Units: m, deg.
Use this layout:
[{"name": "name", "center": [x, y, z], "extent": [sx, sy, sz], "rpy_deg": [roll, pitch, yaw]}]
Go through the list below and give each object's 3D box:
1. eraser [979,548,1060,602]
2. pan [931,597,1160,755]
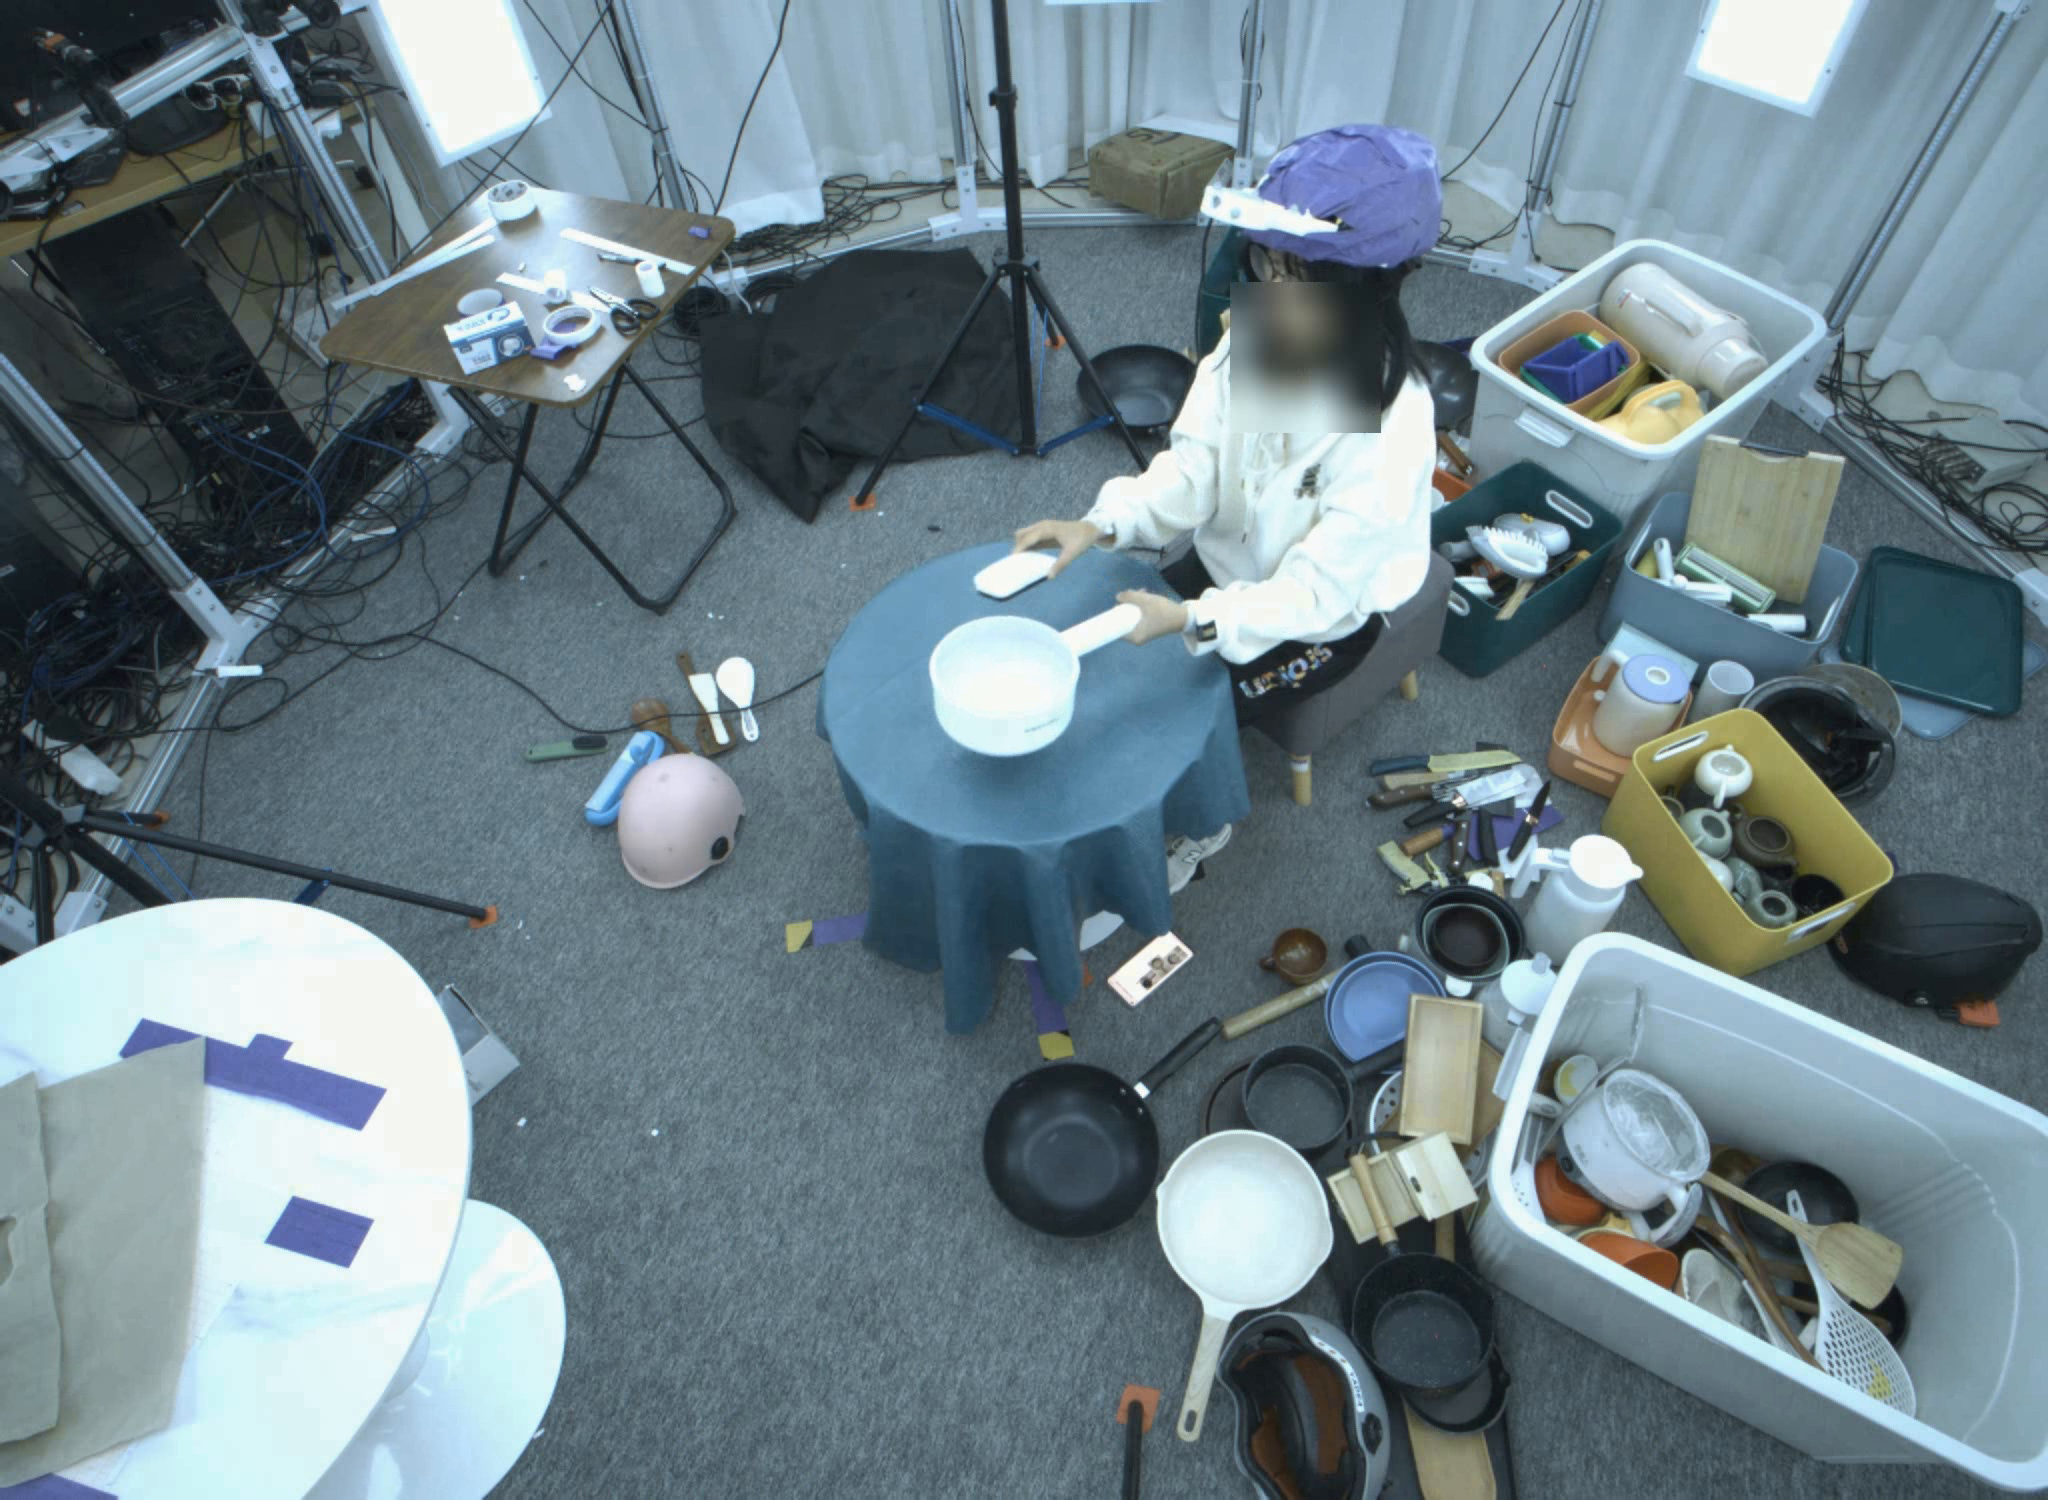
[{"name": "eraser", "center": [-0.005, -0.258, 1.784], "extent": [0.062, 0.035, 0.133], "rpy_deg": [27, 44, 31]}, {"name": "pan", "center": [0.036, -0.115, 1.722], "extent": [0.359, 0.103, 0.197], "rpy_deg": [-25, 55, -27]}]
